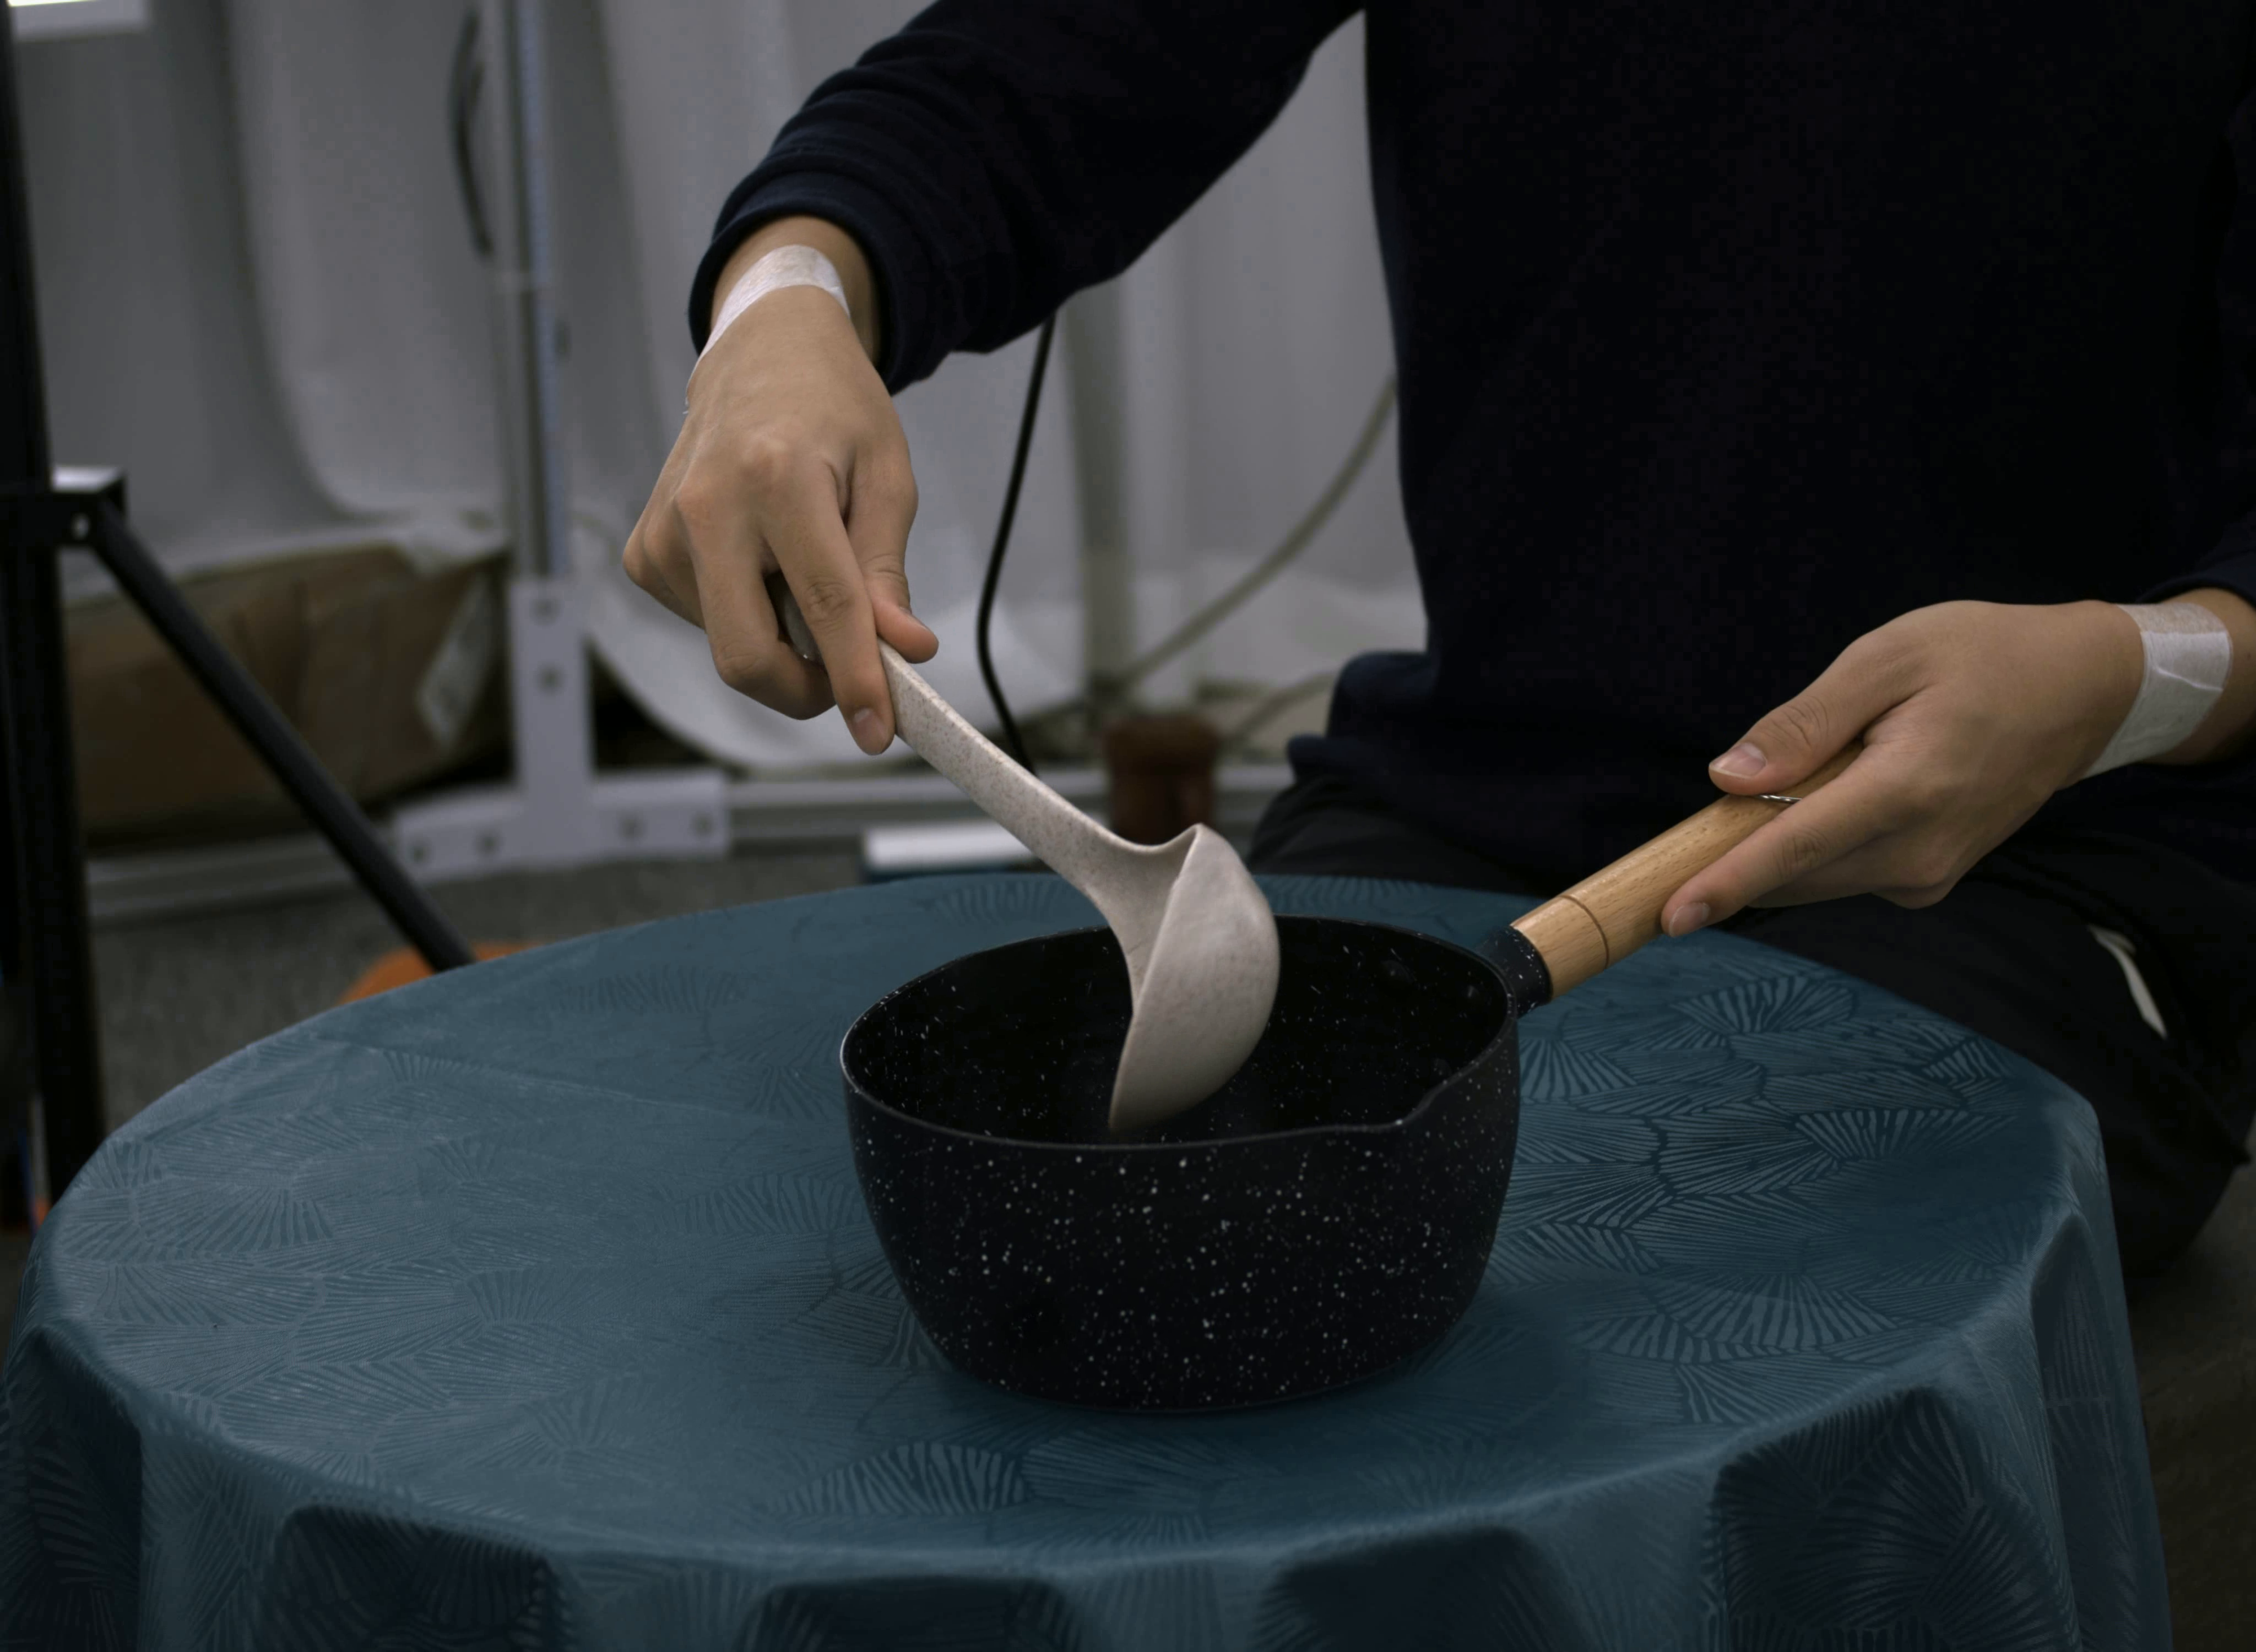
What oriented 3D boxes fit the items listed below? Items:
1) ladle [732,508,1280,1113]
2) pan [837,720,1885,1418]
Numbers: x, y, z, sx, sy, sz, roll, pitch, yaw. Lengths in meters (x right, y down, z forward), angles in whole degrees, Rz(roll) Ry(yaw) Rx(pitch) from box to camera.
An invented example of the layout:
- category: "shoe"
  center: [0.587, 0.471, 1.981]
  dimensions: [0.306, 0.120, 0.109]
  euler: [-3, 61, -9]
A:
- category: "ladle"
  center: [-0.057, -0.013, 1.483]
  dimensions: [0.068, 0.089, 0.281]
  euler: [-19, 42, -33]
- category: "pan"
  center: [0.080, 0.063, 1.479]
  dimensions: [0.335, 0.108, 0.212]
  euler: [-18, 20, -31]
